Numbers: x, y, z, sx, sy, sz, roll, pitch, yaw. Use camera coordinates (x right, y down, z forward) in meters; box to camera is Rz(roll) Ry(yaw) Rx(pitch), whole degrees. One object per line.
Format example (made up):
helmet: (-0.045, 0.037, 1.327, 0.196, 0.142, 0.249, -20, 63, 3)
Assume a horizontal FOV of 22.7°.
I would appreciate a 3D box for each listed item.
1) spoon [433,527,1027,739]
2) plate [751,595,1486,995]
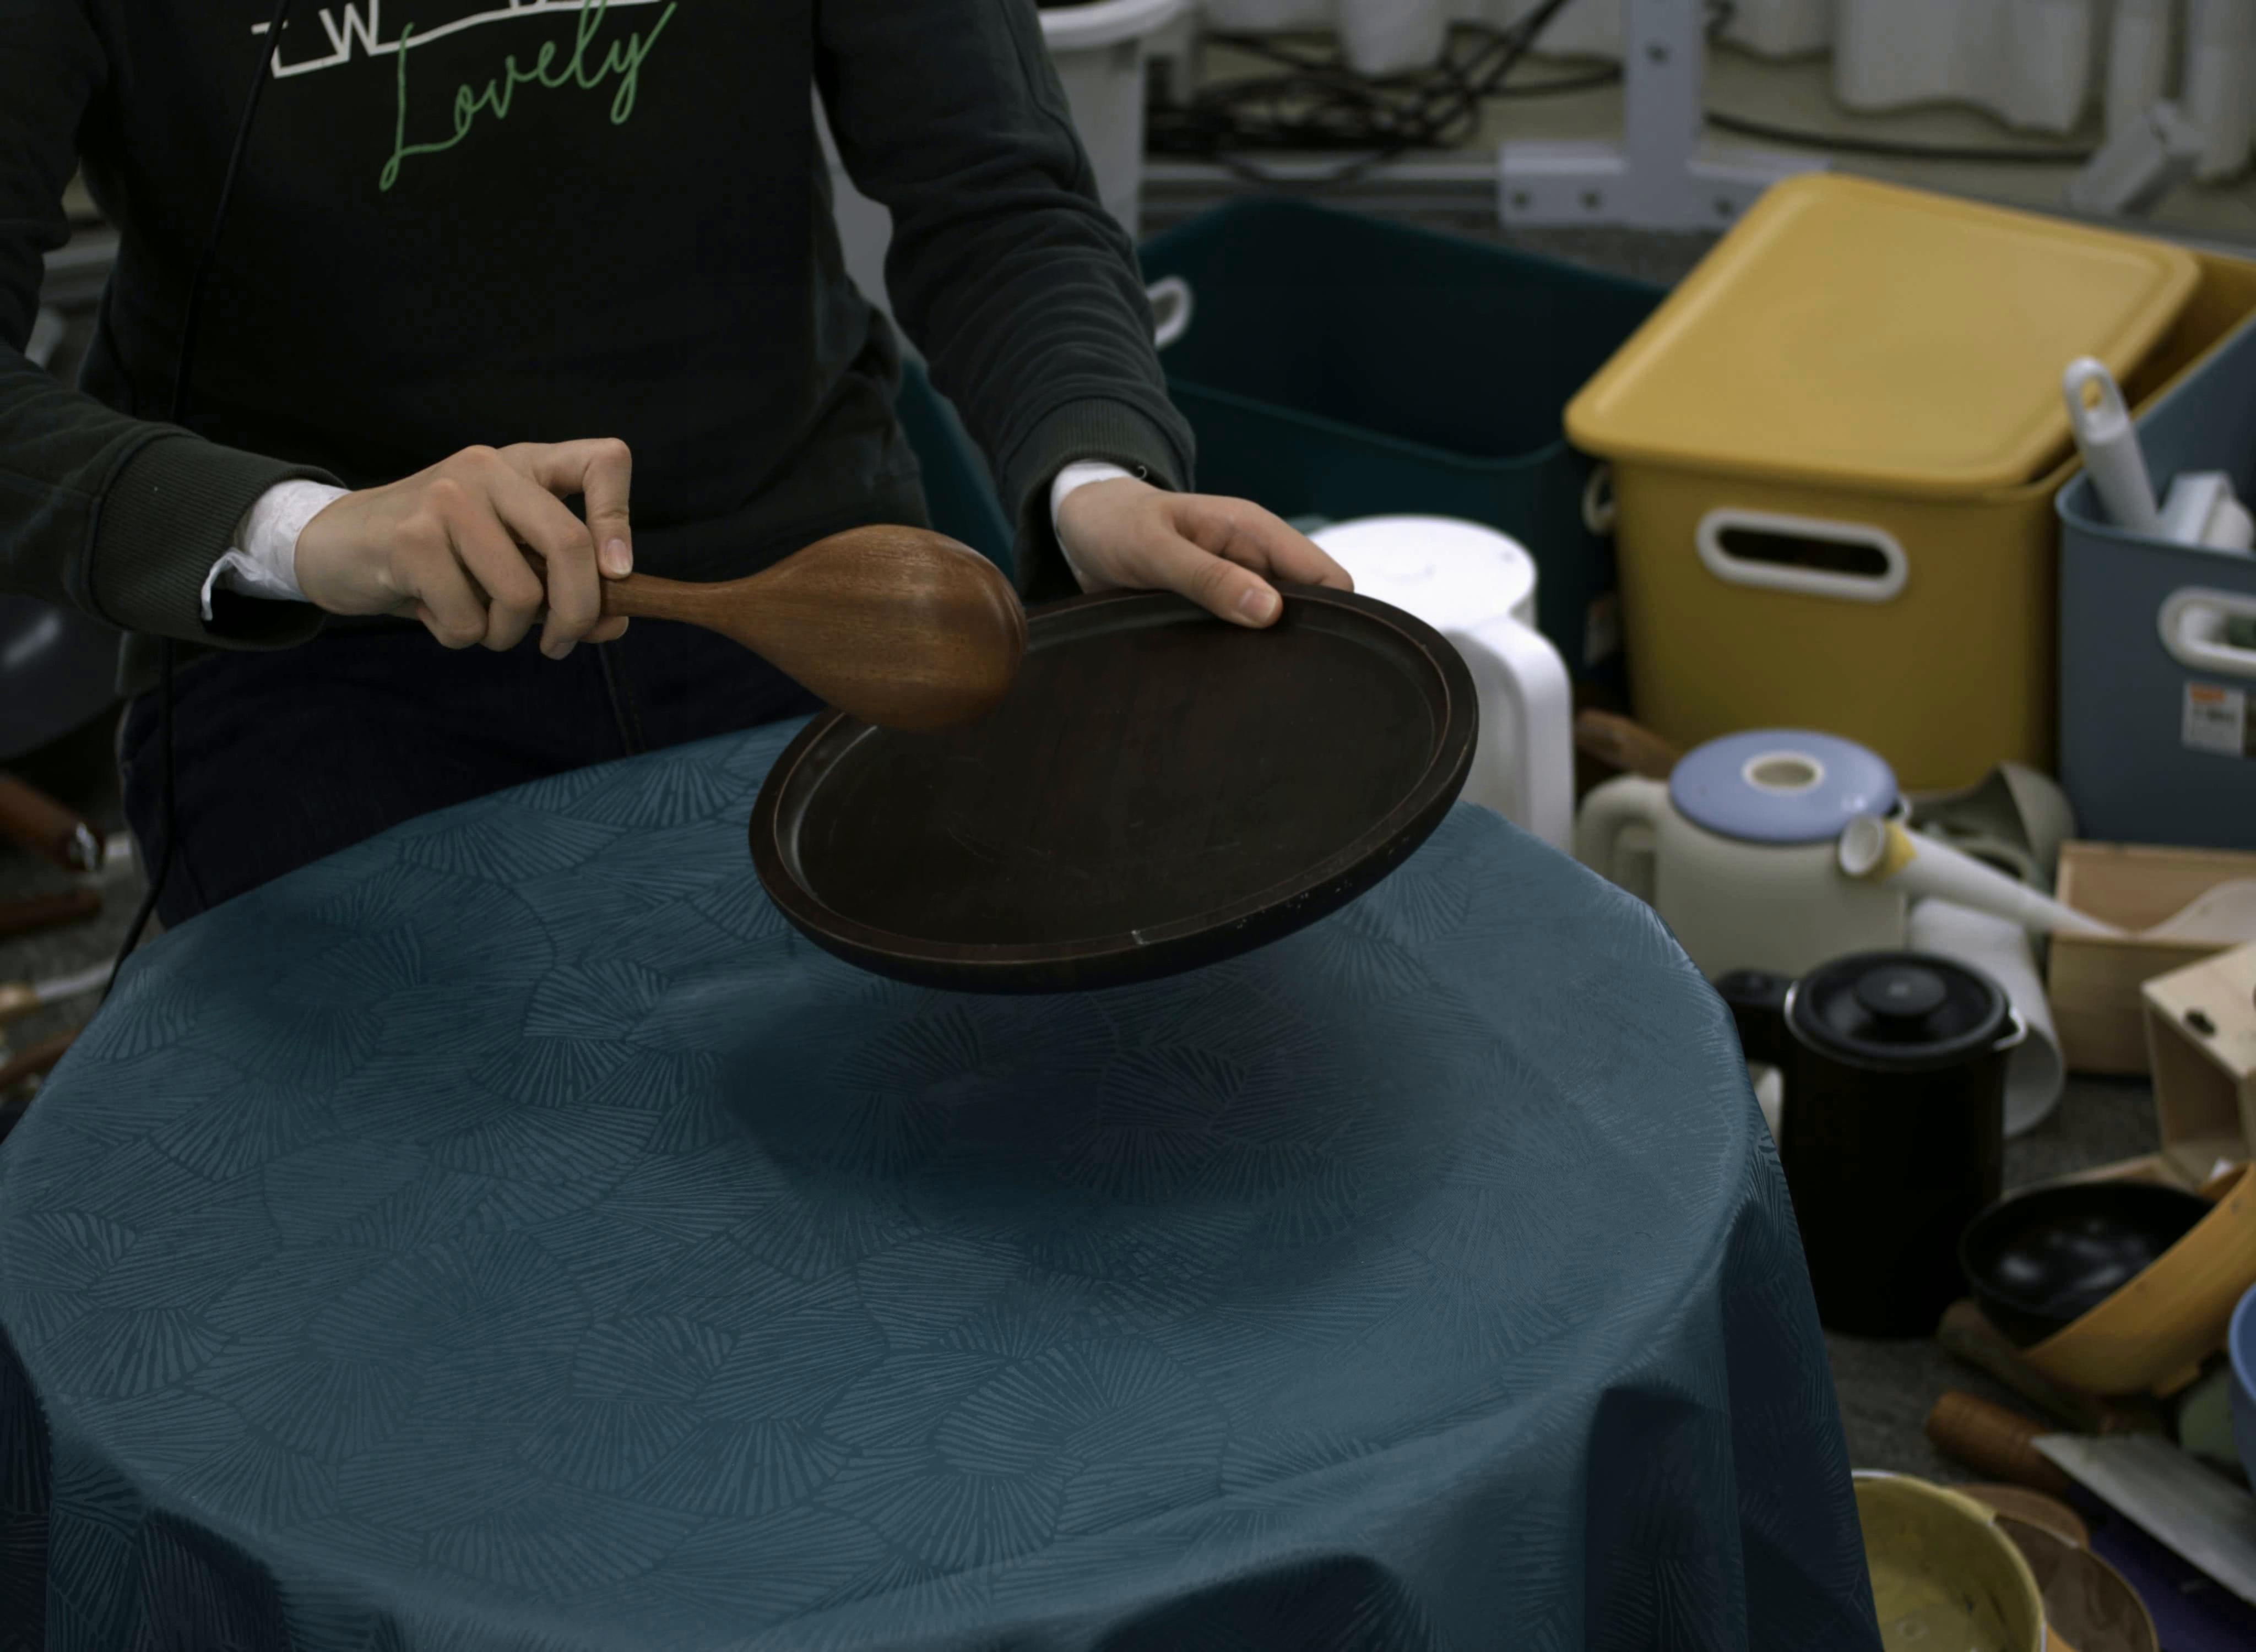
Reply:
spoon: (-0.136, -0.073, 1.895, 0.214, 0.075, 0.017, 10, 25, 18)
plate: (-0.003, -0.013, 1.904, 0.253, 0.029, 0.259, -8, 29, 5)
